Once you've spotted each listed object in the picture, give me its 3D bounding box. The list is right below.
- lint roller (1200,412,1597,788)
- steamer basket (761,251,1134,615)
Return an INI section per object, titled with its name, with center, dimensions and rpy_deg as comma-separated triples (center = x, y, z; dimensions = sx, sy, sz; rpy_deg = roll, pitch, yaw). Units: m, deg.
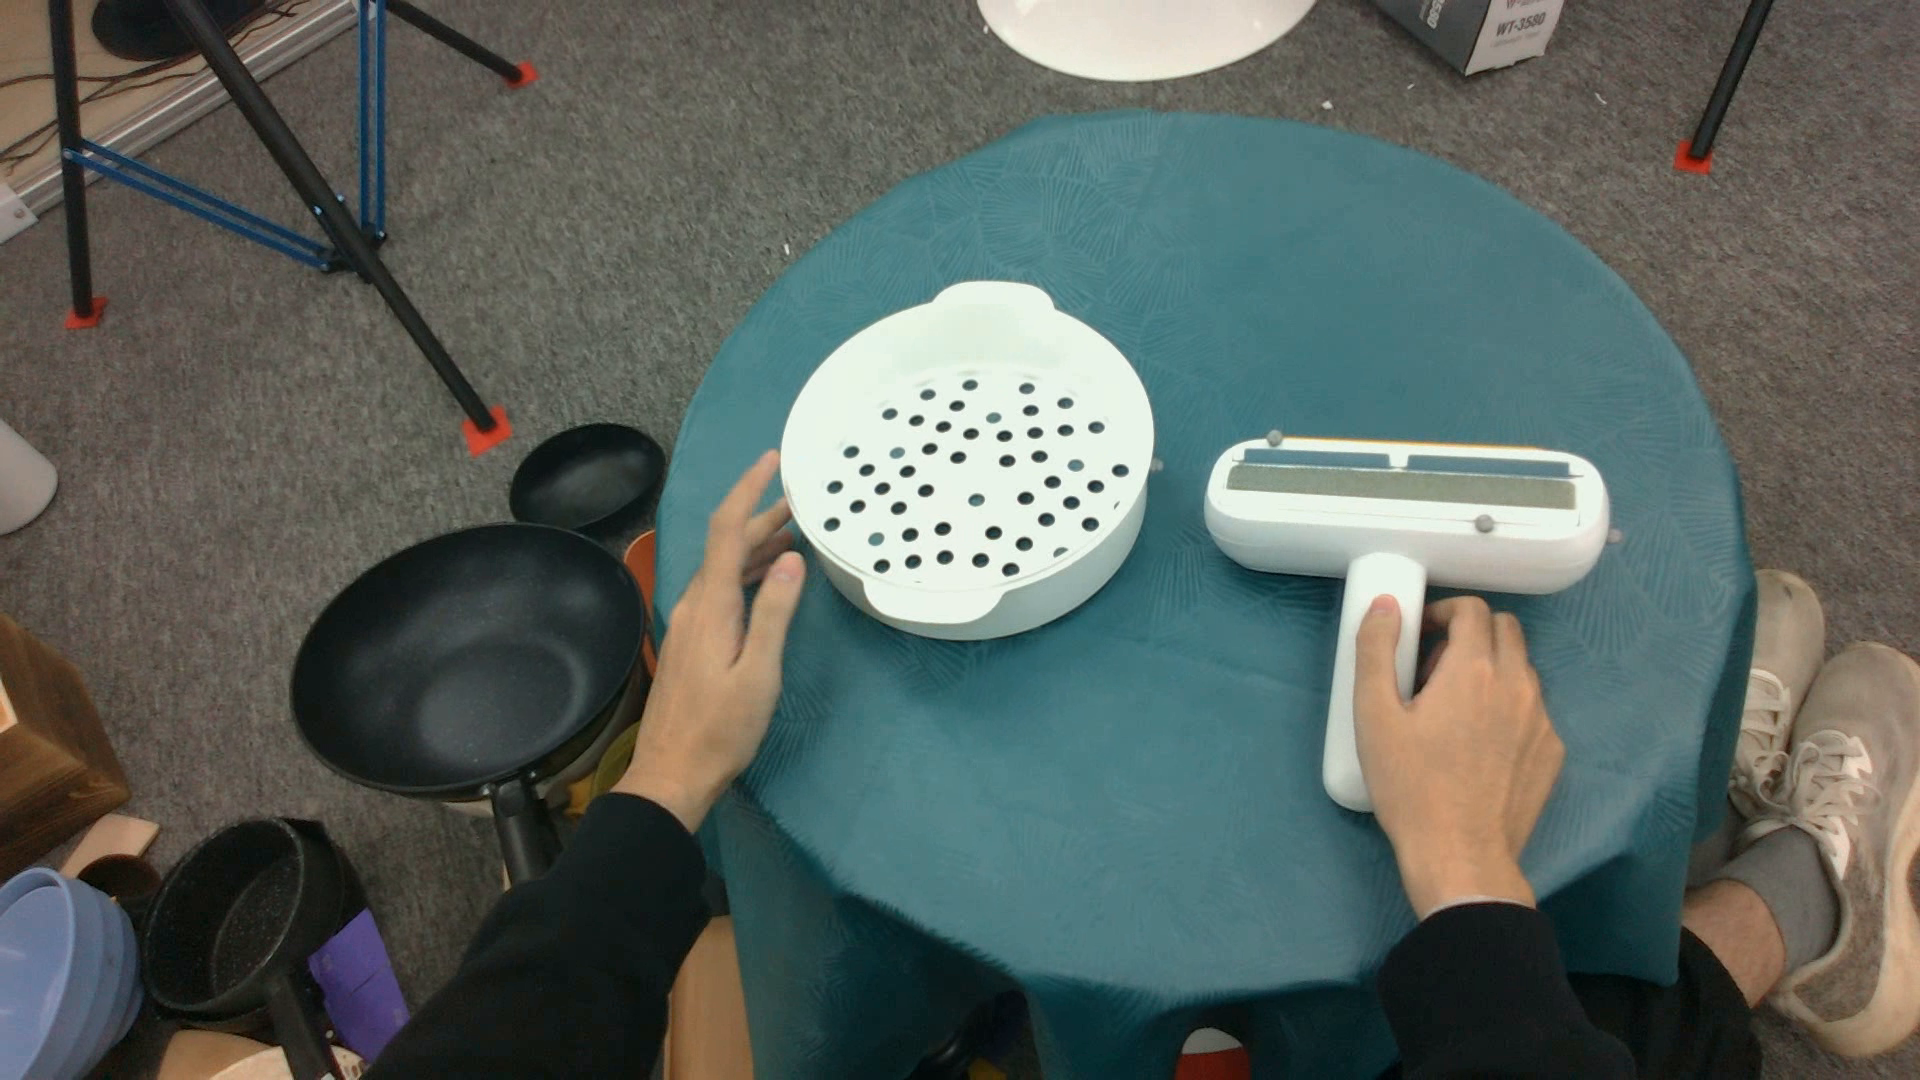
[lint roller]
center = 0.201, 0.026, 0.681
dimensions = 0.192, 0.074, 0.193
rpy_deg = 10, 61, 21
[steamer basket]
center = -0.005, -0.054, 0.761
dimensions = 0.202, 0.069, 0.231
rpy_deg = 4, 60, 11
